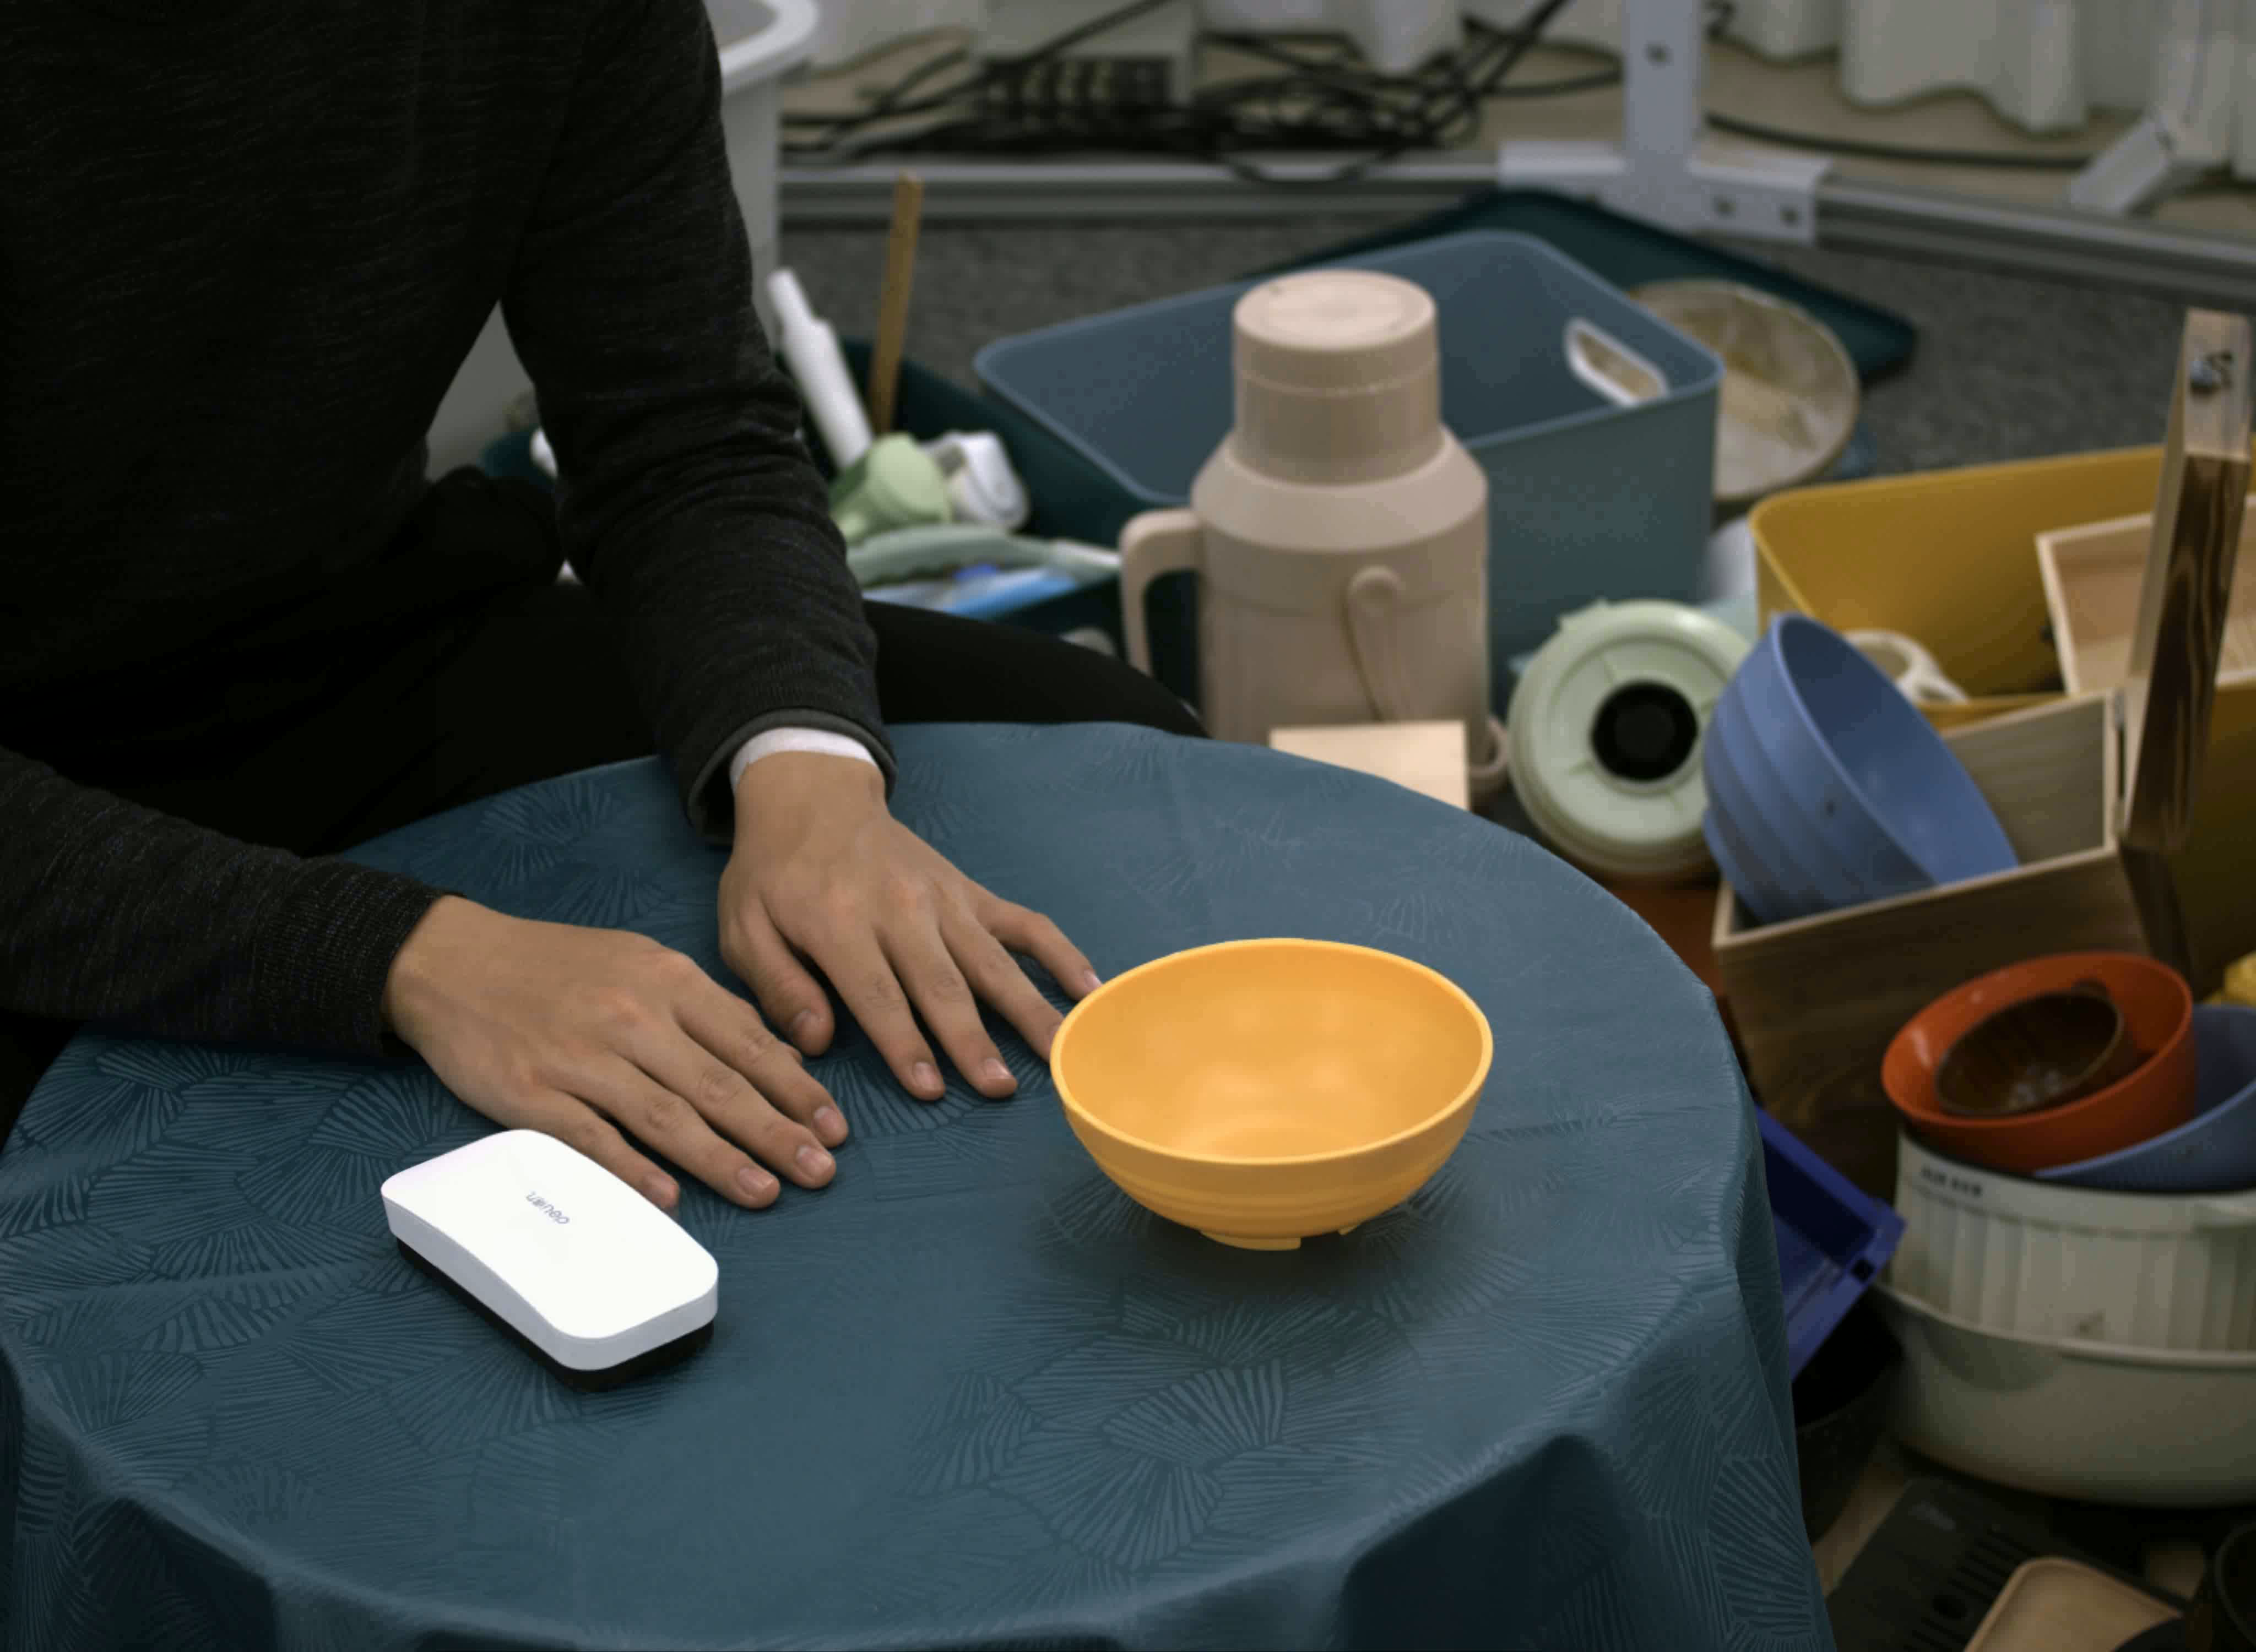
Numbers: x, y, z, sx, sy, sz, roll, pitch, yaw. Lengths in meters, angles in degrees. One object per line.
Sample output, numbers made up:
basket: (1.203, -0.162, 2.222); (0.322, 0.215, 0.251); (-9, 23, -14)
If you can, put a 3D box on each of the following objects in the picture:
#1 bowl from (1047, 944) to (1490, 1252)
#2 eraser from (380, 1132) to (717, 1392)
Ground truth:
bowl: (0.046, 0.097, 1.841); (0.144, 0.059, 0.147); (-1, 26, 1)
eraser: (-0.187, 0.137, 1.816); (0.064, 0.034, 0.131); (-20, 32, -32)
